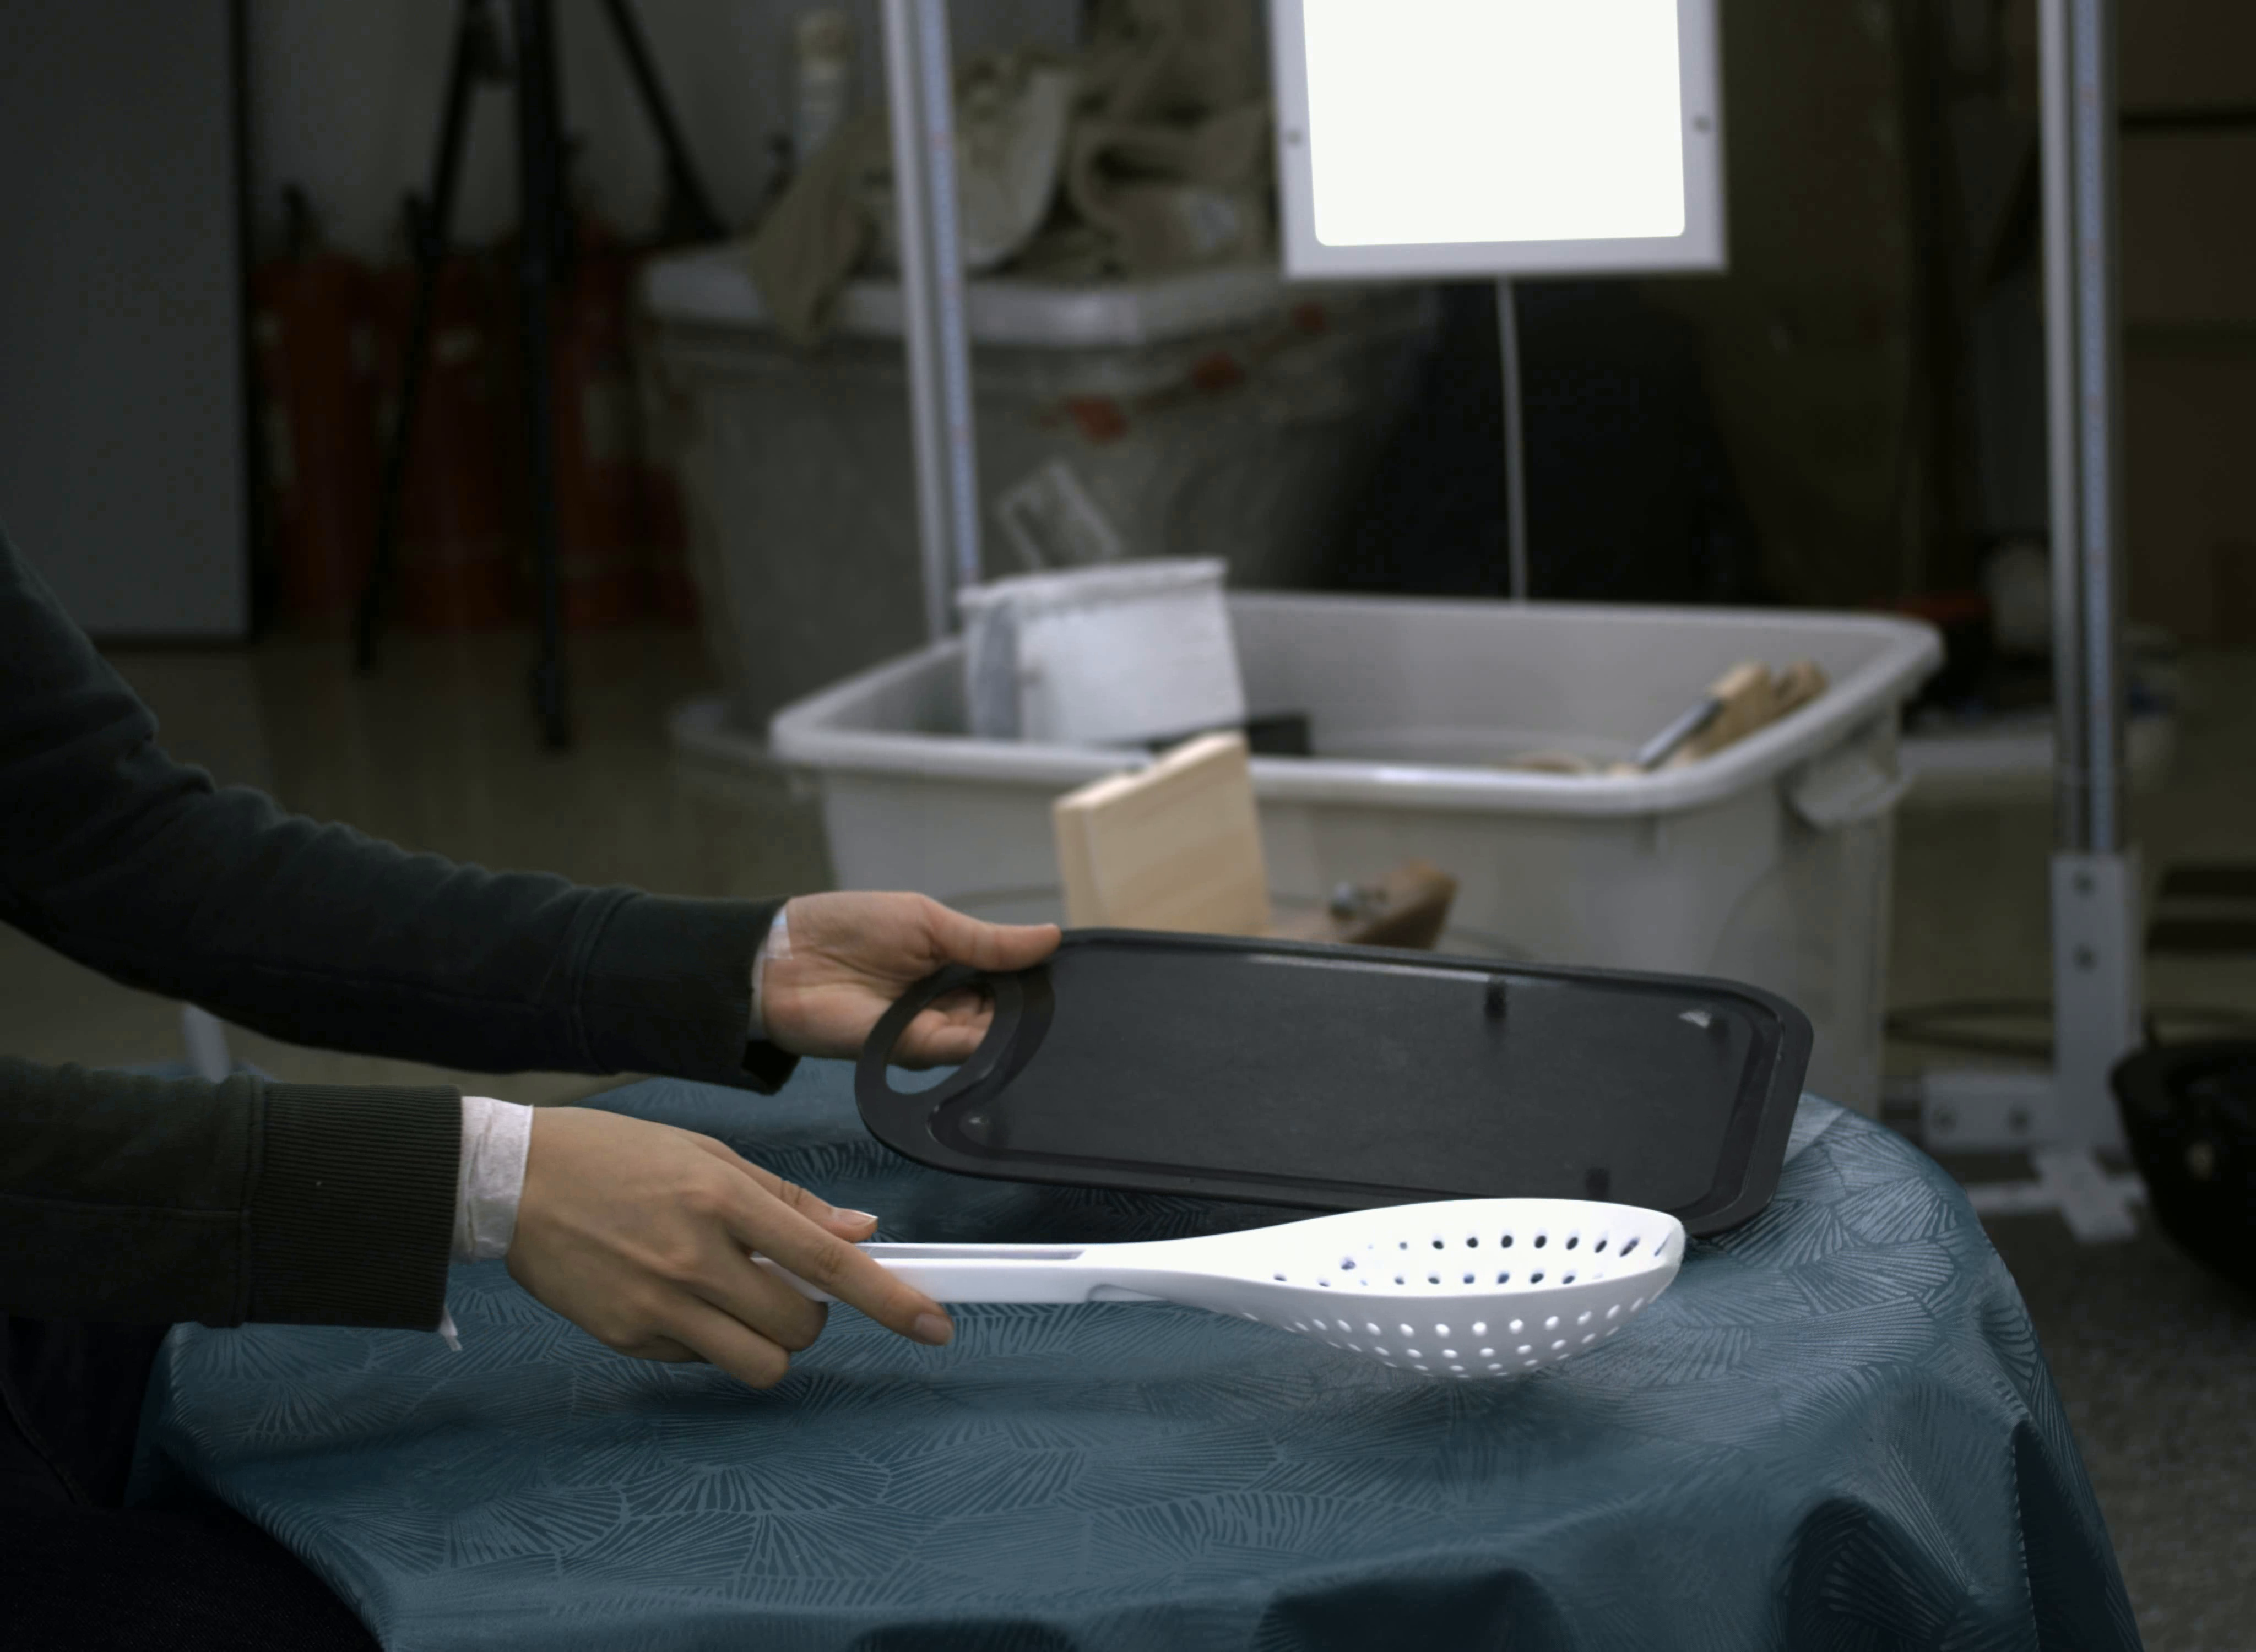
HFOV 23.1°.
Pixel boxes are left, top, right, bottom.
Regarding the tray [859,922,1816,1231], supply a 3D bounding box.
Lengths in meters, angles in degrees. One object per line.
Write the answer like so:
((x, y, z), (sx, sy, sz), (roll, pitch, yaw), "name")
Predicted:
((0.069, 0.082, 1.894), (0.328, 0.010, 0.208), (5, 23, 14), "tray")

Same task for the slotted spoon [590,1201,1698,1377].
((0.001, 0.136, 1.700), (0.353, 0.046, 0.134), (3, 8, 16), "slotted spoon")
